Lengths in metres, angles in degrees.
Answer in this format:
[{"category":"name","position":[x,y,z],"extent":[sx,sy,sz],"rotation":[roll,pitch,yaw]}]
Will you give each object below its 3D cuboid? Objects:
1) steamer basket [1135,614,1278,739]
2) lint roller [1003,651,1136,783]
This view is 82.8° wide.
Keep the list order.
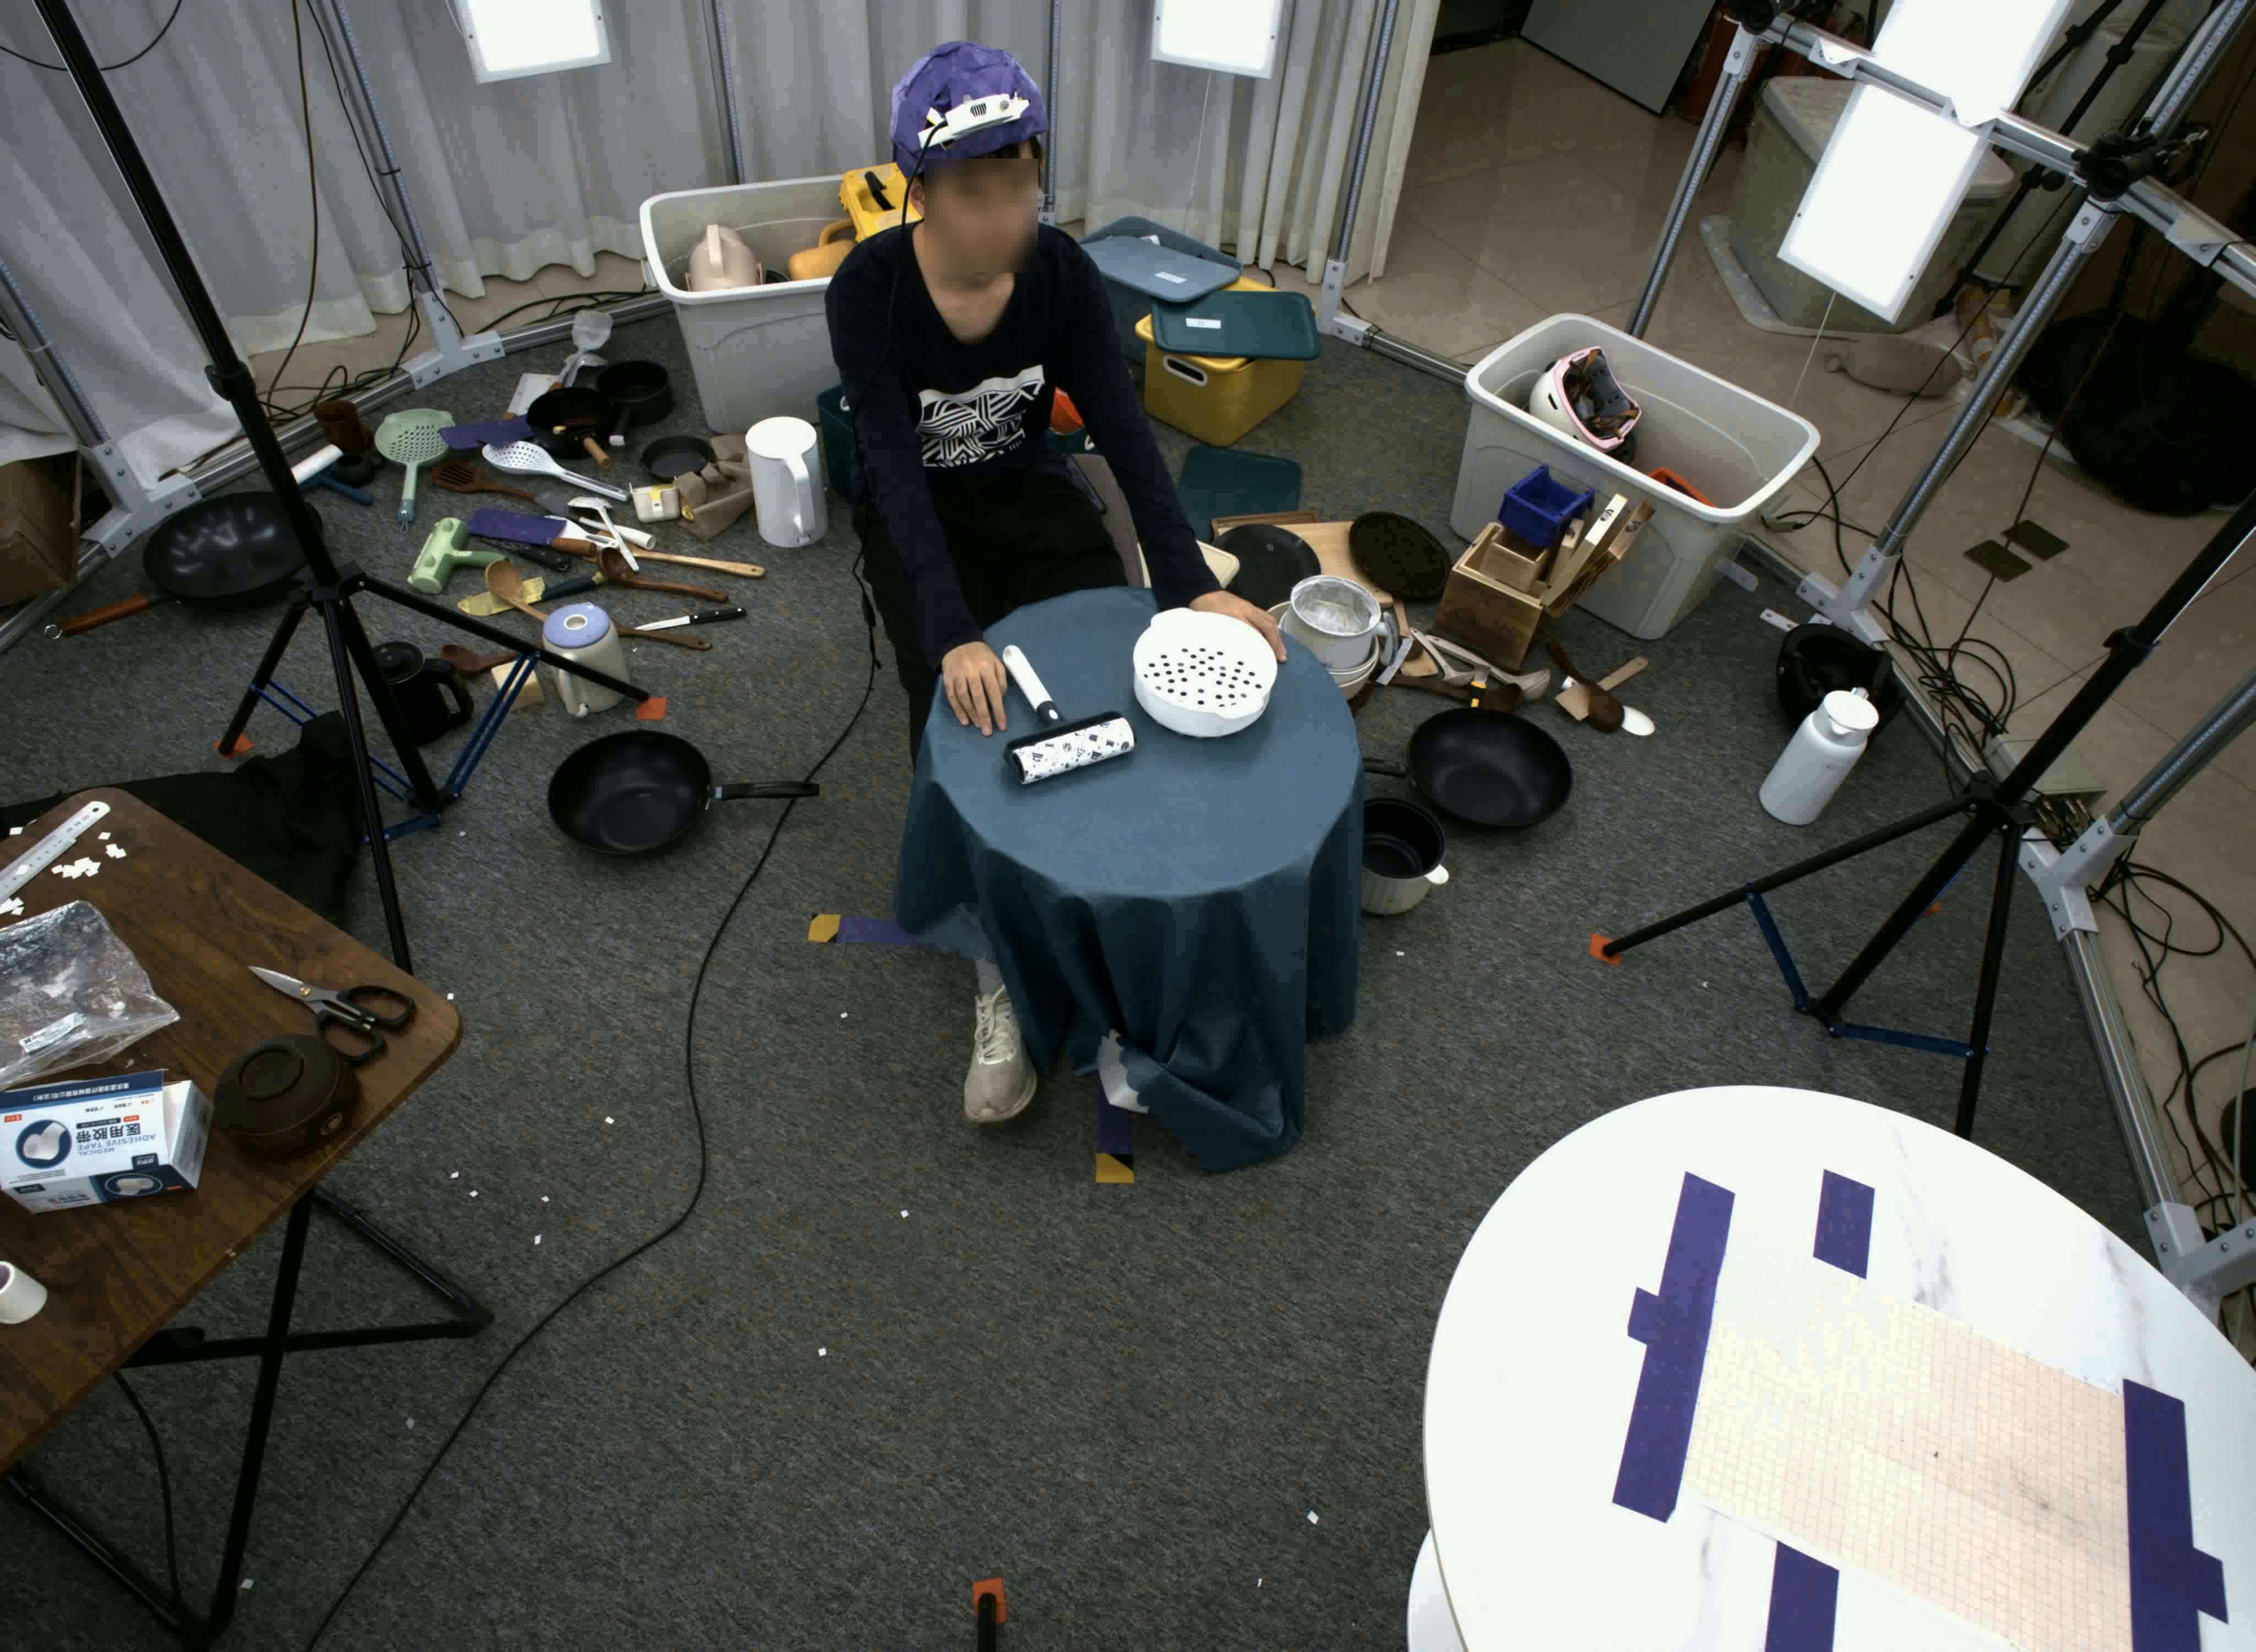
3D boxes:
[{"category":"steamer basket","position":[0.109,-0.209,1.815],"extent":[0.202,0.067,0.236],"rotation":[-18,50,-19]},{"category":"lint roller","position":[-0.120,-0.171,1.781],"extent":[0.176,0.049,0.252],"rotation":[-20,51,-19]}]
